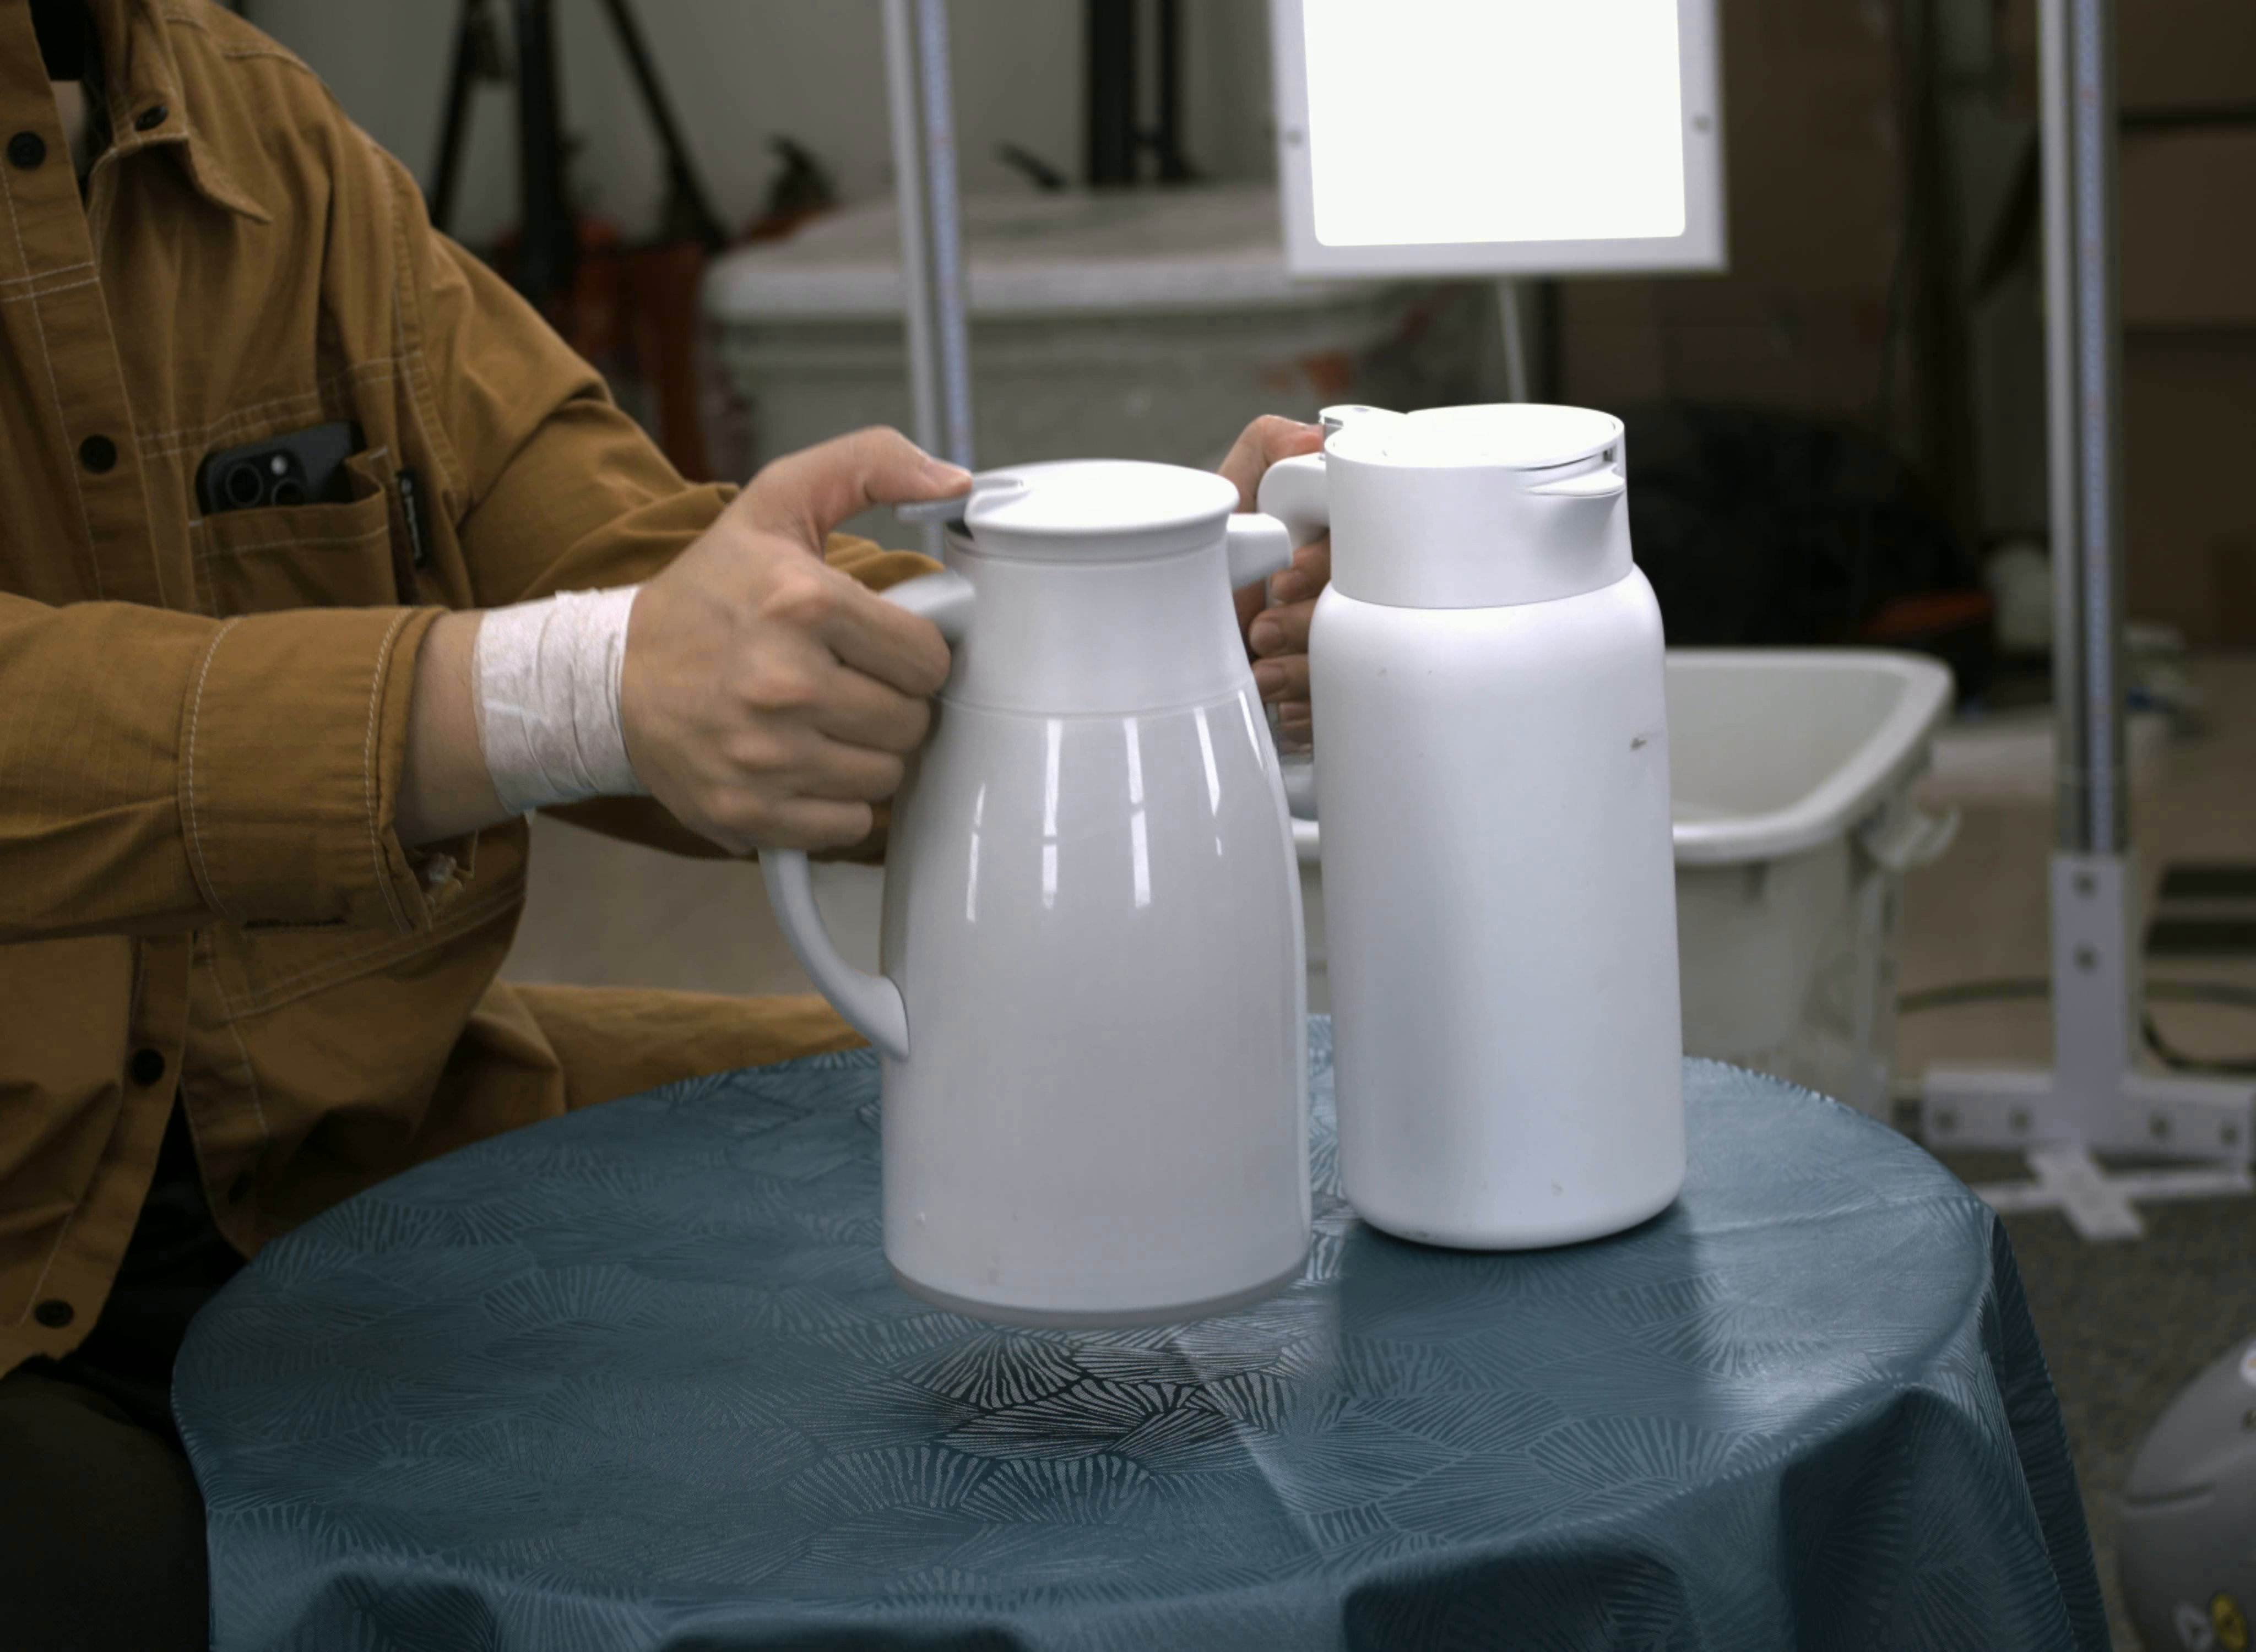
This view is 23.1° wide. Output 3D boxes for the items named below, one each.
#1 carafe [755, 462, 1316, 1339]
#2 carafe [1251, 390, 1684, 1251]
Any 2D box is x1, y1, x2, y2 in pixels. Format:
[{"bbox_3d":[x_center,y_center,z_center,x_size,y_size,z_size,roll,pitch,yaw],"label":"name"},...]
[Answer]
[{"bbox_3d":[-0.028,0.018,1.650,0.165,0.250,0.134,-7,16,-18],"label":"carafe"},{"bbox_3d":[0.109,-0.004,1.823,0.121,0.270,0.176,-17,20,-34],"label":"carafe"}]
